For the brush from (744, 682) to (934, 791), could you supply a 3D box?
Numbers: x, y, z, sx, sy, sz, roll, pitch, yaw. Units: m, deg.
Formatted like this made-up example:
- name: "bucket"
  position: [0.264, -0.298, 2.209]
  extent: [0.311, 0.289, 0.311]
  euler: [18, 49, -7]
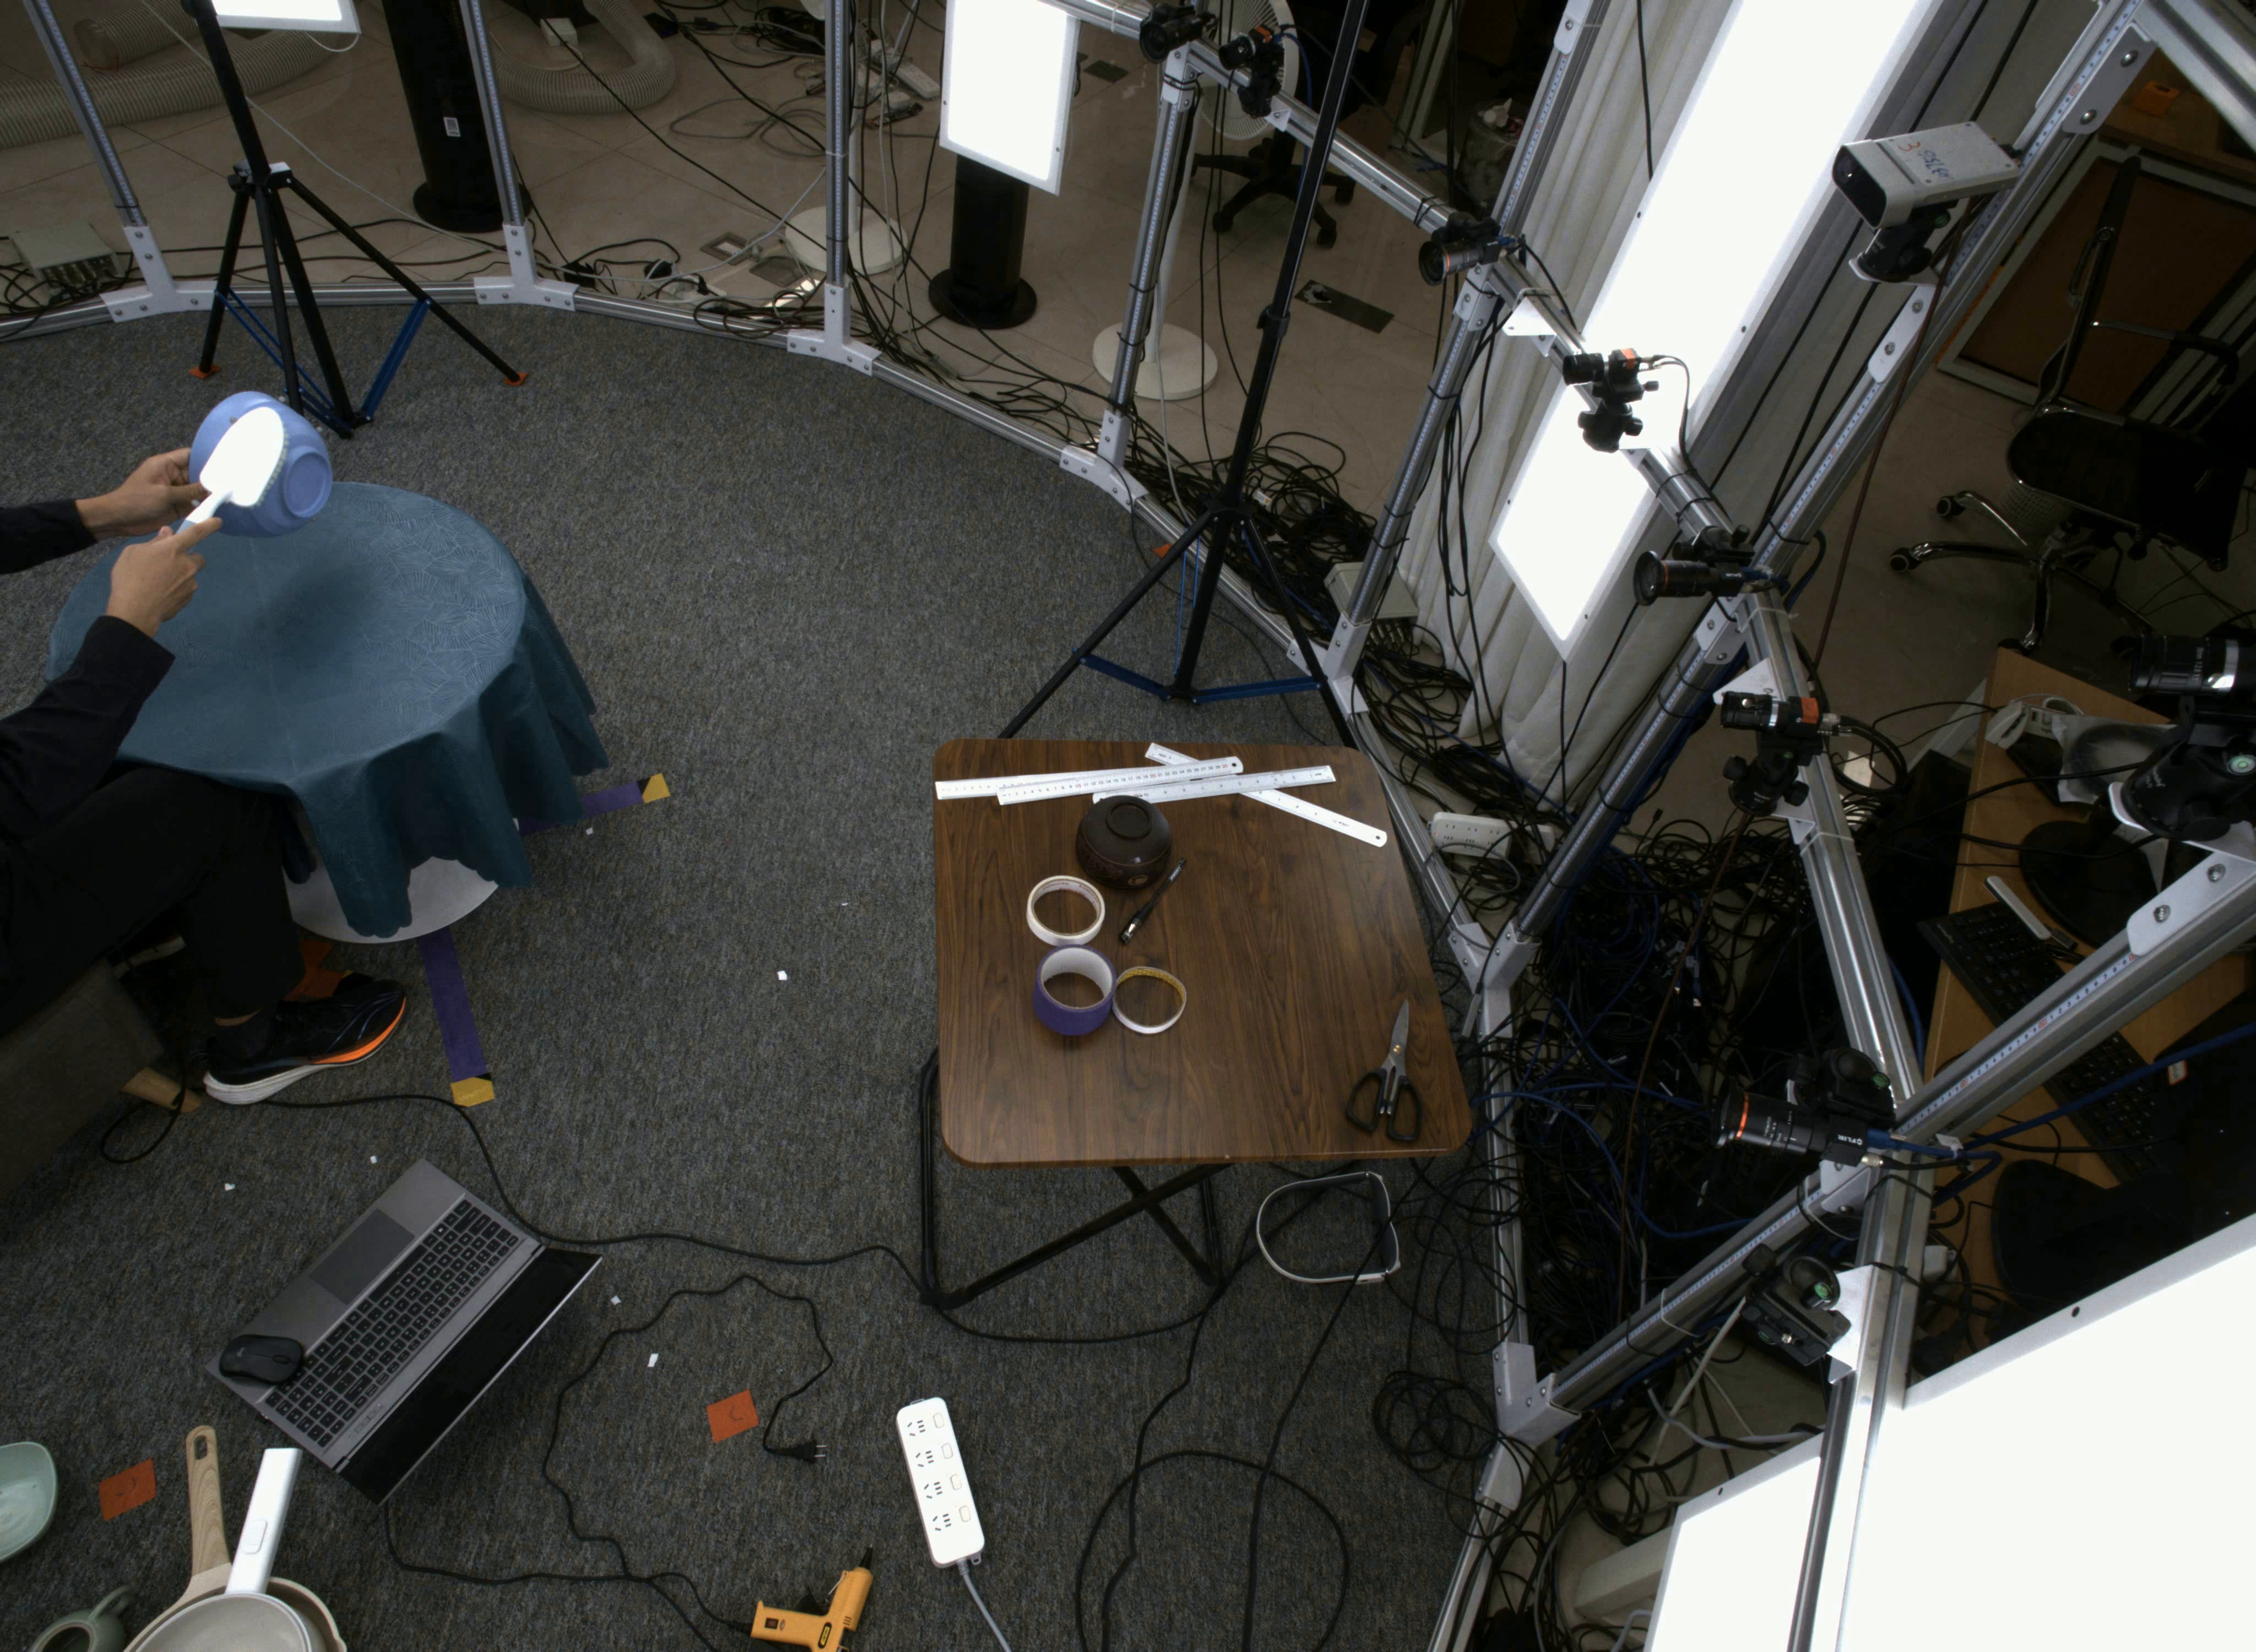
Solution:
- name: "brush"
  position: [-0.422, -0.118, 1.907]
  extent: [0.326, 0.087, 0.080]
  euler: [-33, 32, -30]

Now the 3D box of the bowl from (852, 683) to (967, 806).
- name: "bowl"
  position: [-0.326, -0.116, 2.046]
  extent: [0.199, 0.202, 0.092]
  euler: [-17, 32, -42]
